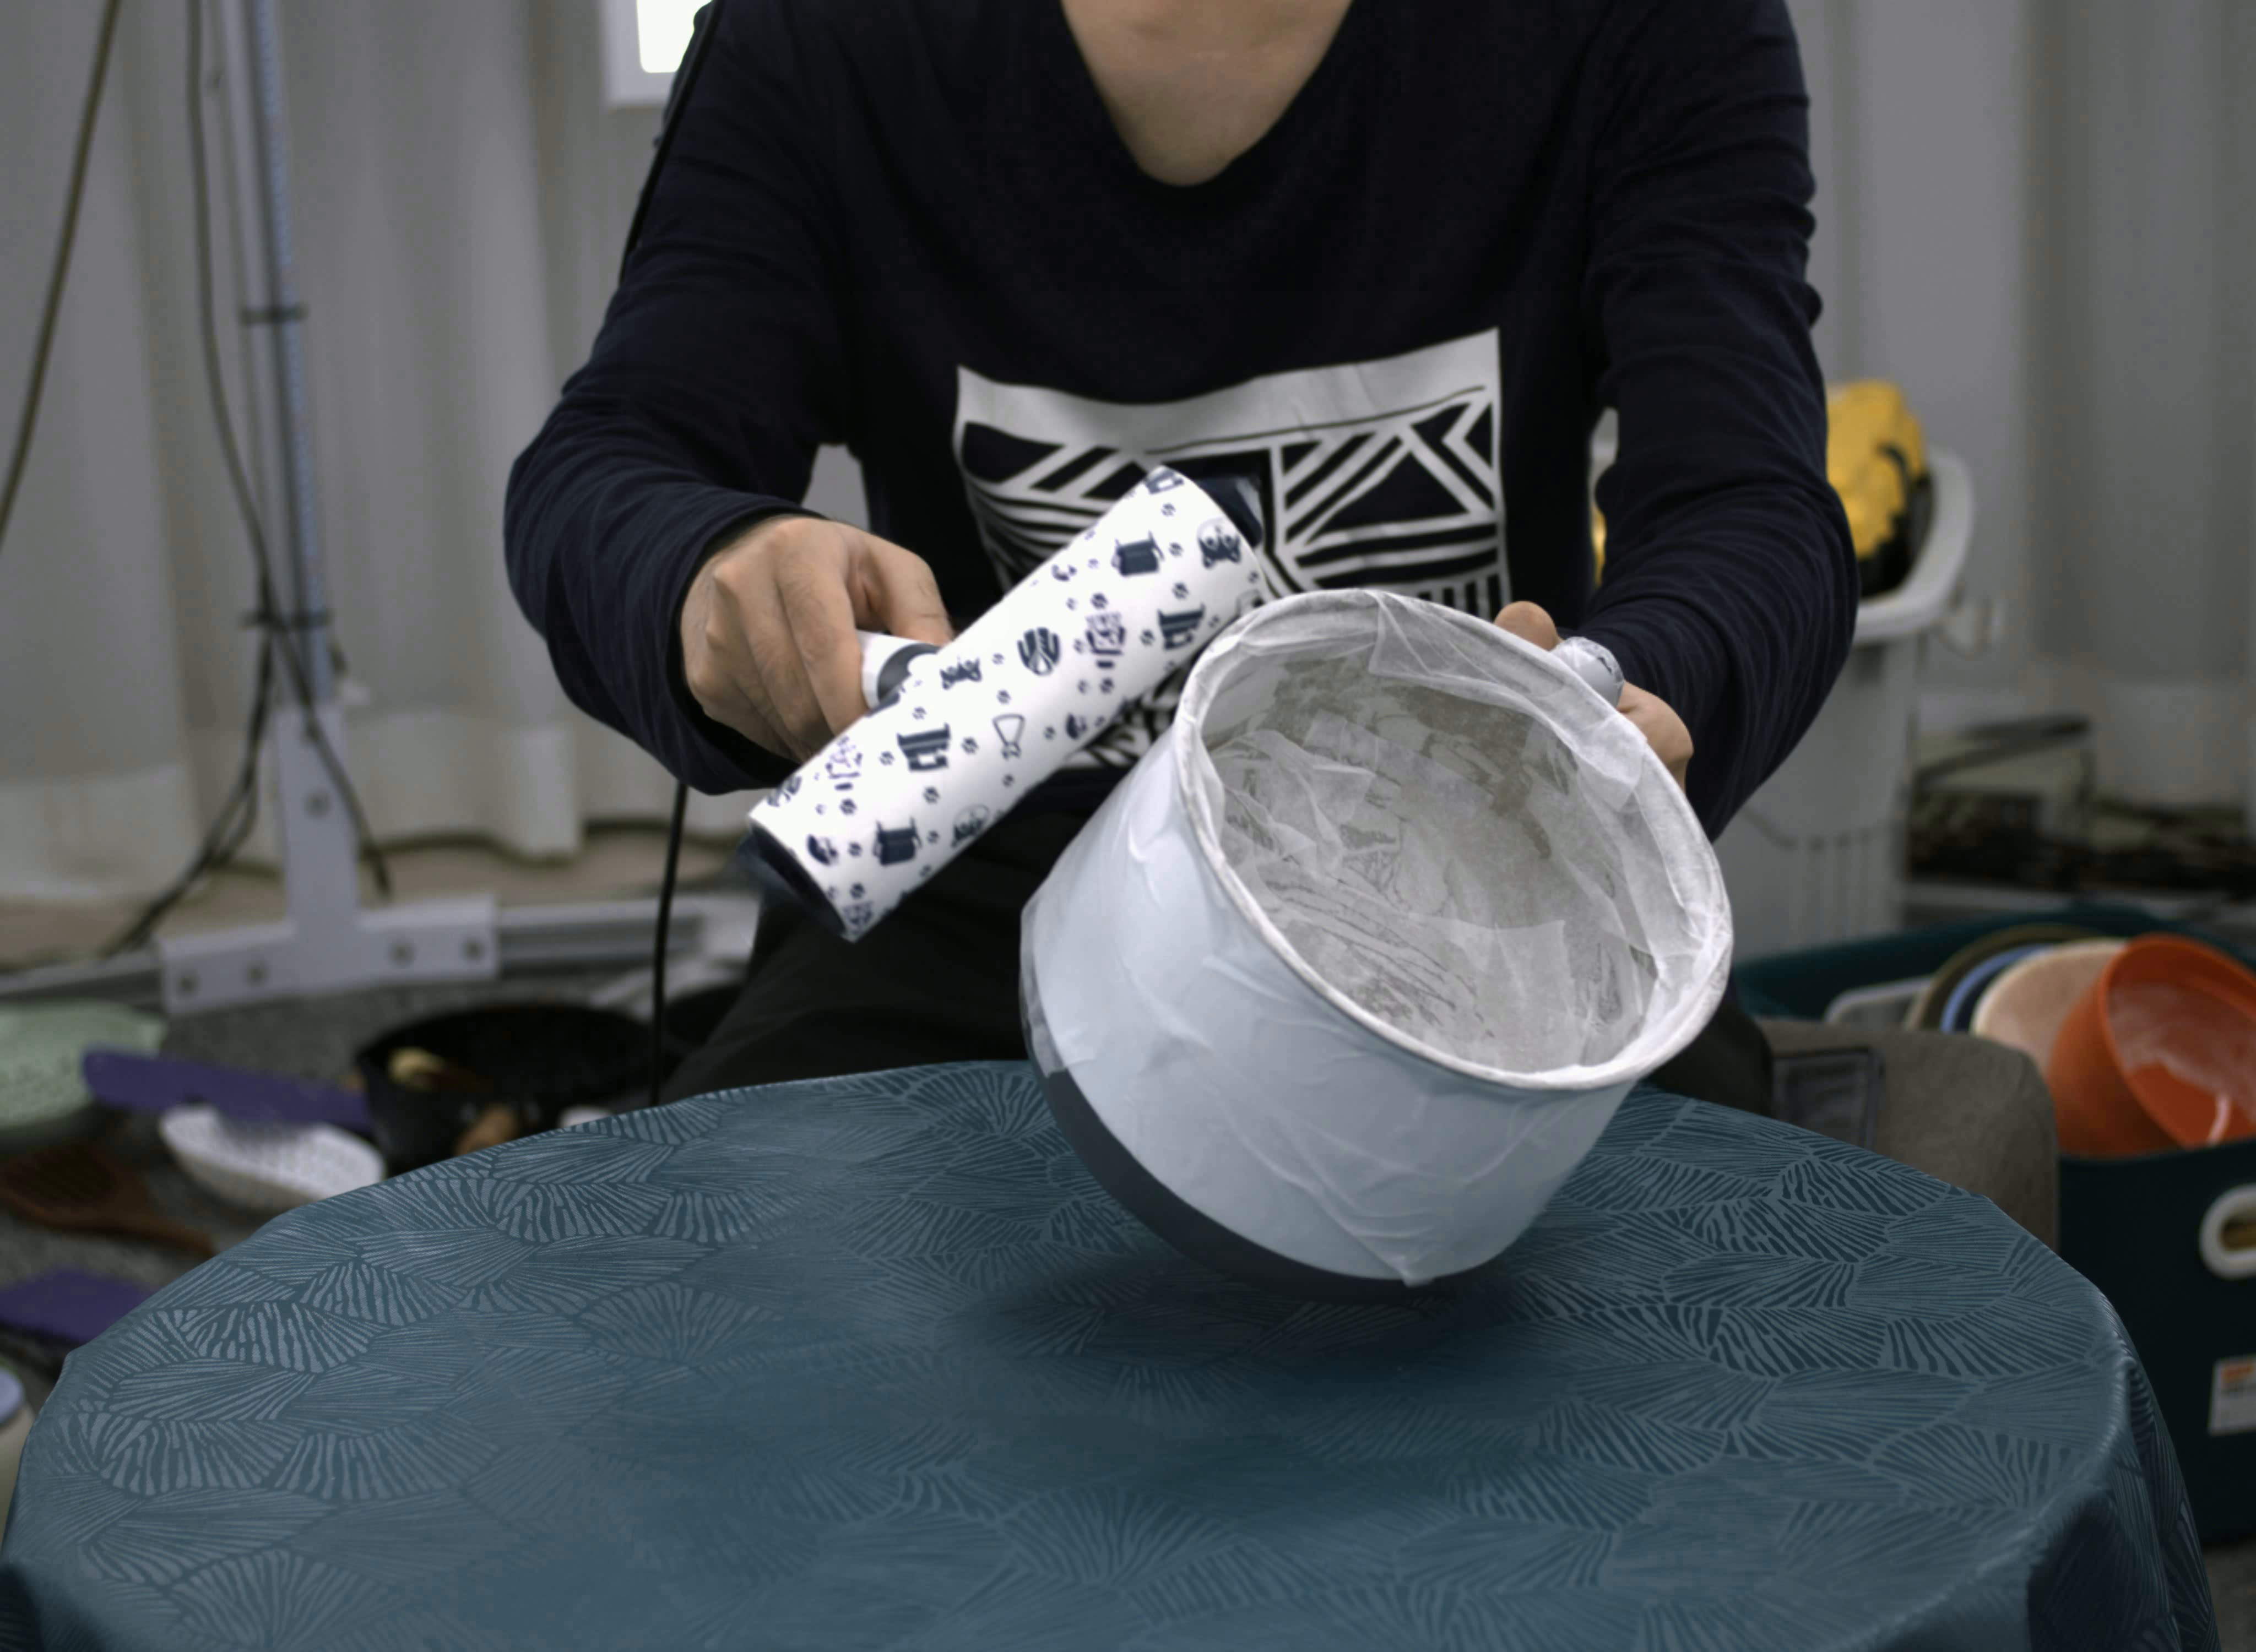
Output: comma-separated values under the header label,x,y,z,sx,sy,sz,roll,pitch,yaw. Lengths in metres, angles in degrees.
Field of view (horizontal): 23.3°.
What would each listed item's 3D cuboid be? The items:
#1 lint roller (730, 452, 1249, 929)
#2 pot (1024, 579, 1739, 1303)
label,x,y,z,sx,sy,sz,roll,pitch,yaw
lint roller,-0.069,-0.043,1.668,0.176,0.050,0.248,-42,14,-13
pot,0.081,0.023,1.599,0.179,0.135,0.235,39,45,1
